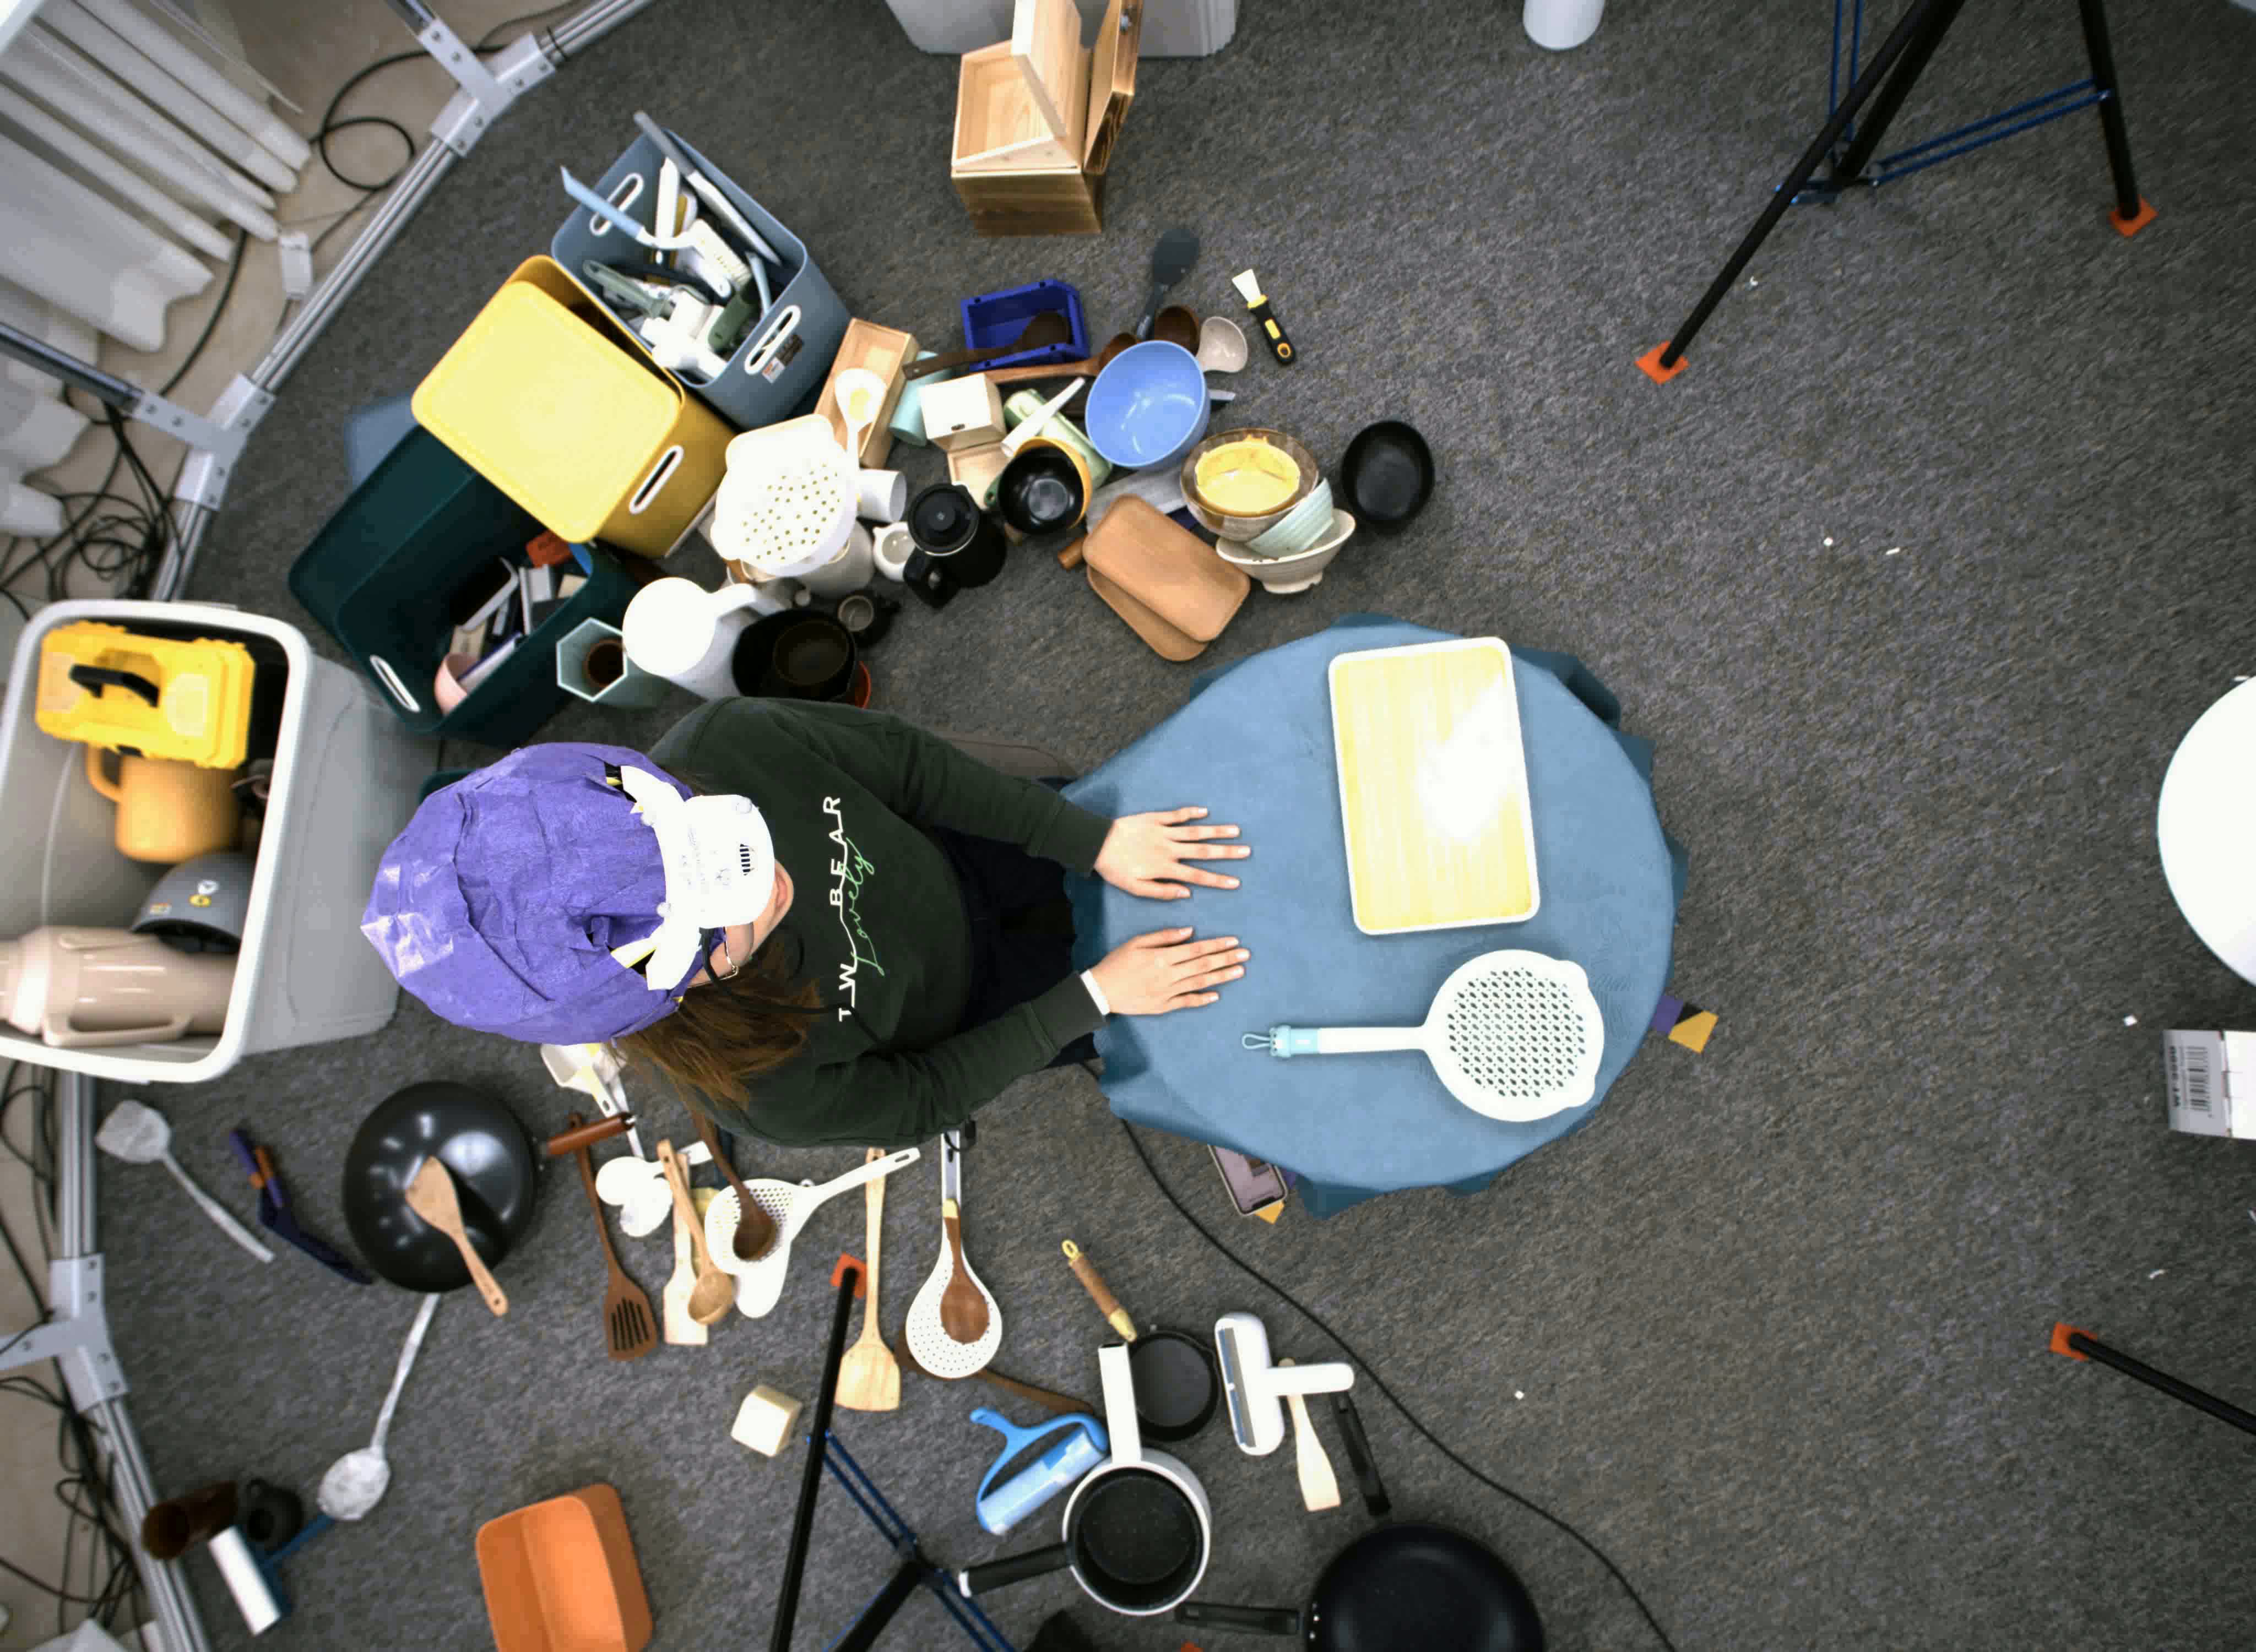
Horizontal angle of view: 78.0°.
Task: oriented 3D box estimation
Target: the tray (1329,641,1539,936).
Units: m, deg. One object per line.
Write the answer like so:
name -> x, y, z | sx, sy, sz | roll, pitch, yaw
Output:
tray -> 0.321, -0.041, 1.450 | 0.192, 0.027, 0.298 | -6, 85, 10

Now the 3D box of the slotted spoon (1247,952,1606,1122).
slotted spoon -> 0.299, 0.216, 1.417 | 0.360, 0.075, 0.168 | -3, 85, 10
